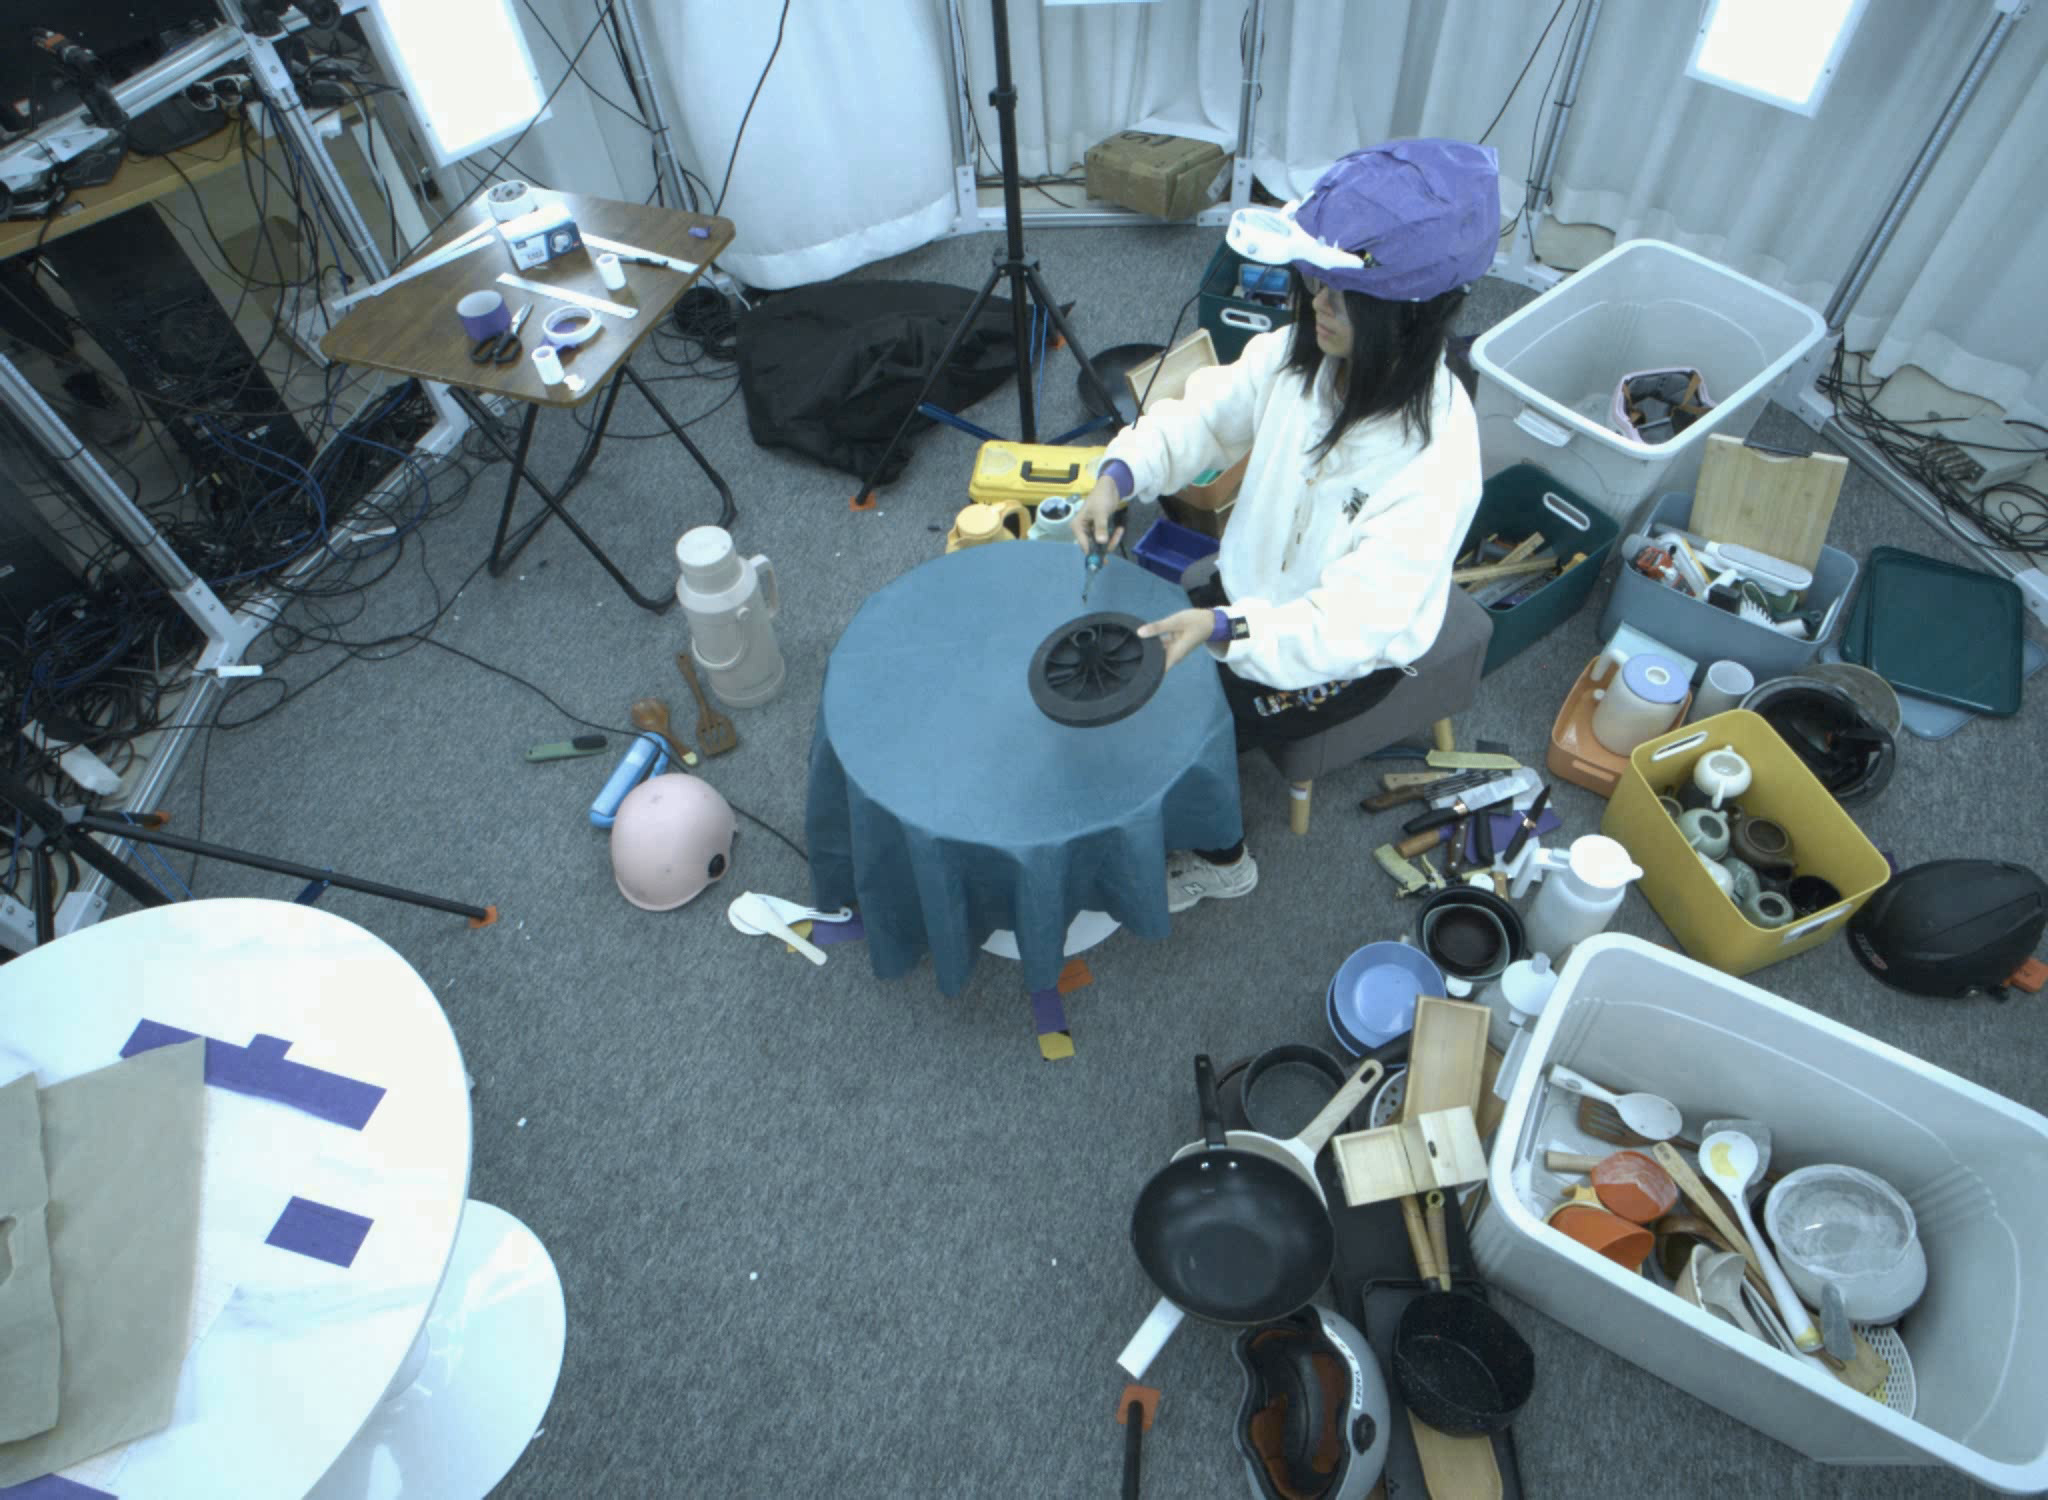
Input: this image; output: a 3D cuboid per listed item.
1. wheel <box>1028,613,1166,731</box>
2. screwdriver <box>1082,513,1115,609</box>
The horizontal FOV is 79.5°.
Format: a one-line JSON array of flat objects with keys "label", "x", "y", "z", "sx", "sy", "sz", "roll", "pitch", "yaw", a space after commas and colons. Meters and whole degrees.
[{"label": "wheel", "x": 0.089, "y": -0.118, "z": 1.631, "sx": 0.190, "sy": 0.080, "sz": 0.183, "roll": -30, "pitch": 51, "yaw": -1}, {"label": "screwdriver", "x": 0.100, "y": -0.264, "z": 1.724, "sx": 0.033, "sy": 0.034, "sz": 0.189, "roll": 7, "pitch": 52, "yaw": 8}]
